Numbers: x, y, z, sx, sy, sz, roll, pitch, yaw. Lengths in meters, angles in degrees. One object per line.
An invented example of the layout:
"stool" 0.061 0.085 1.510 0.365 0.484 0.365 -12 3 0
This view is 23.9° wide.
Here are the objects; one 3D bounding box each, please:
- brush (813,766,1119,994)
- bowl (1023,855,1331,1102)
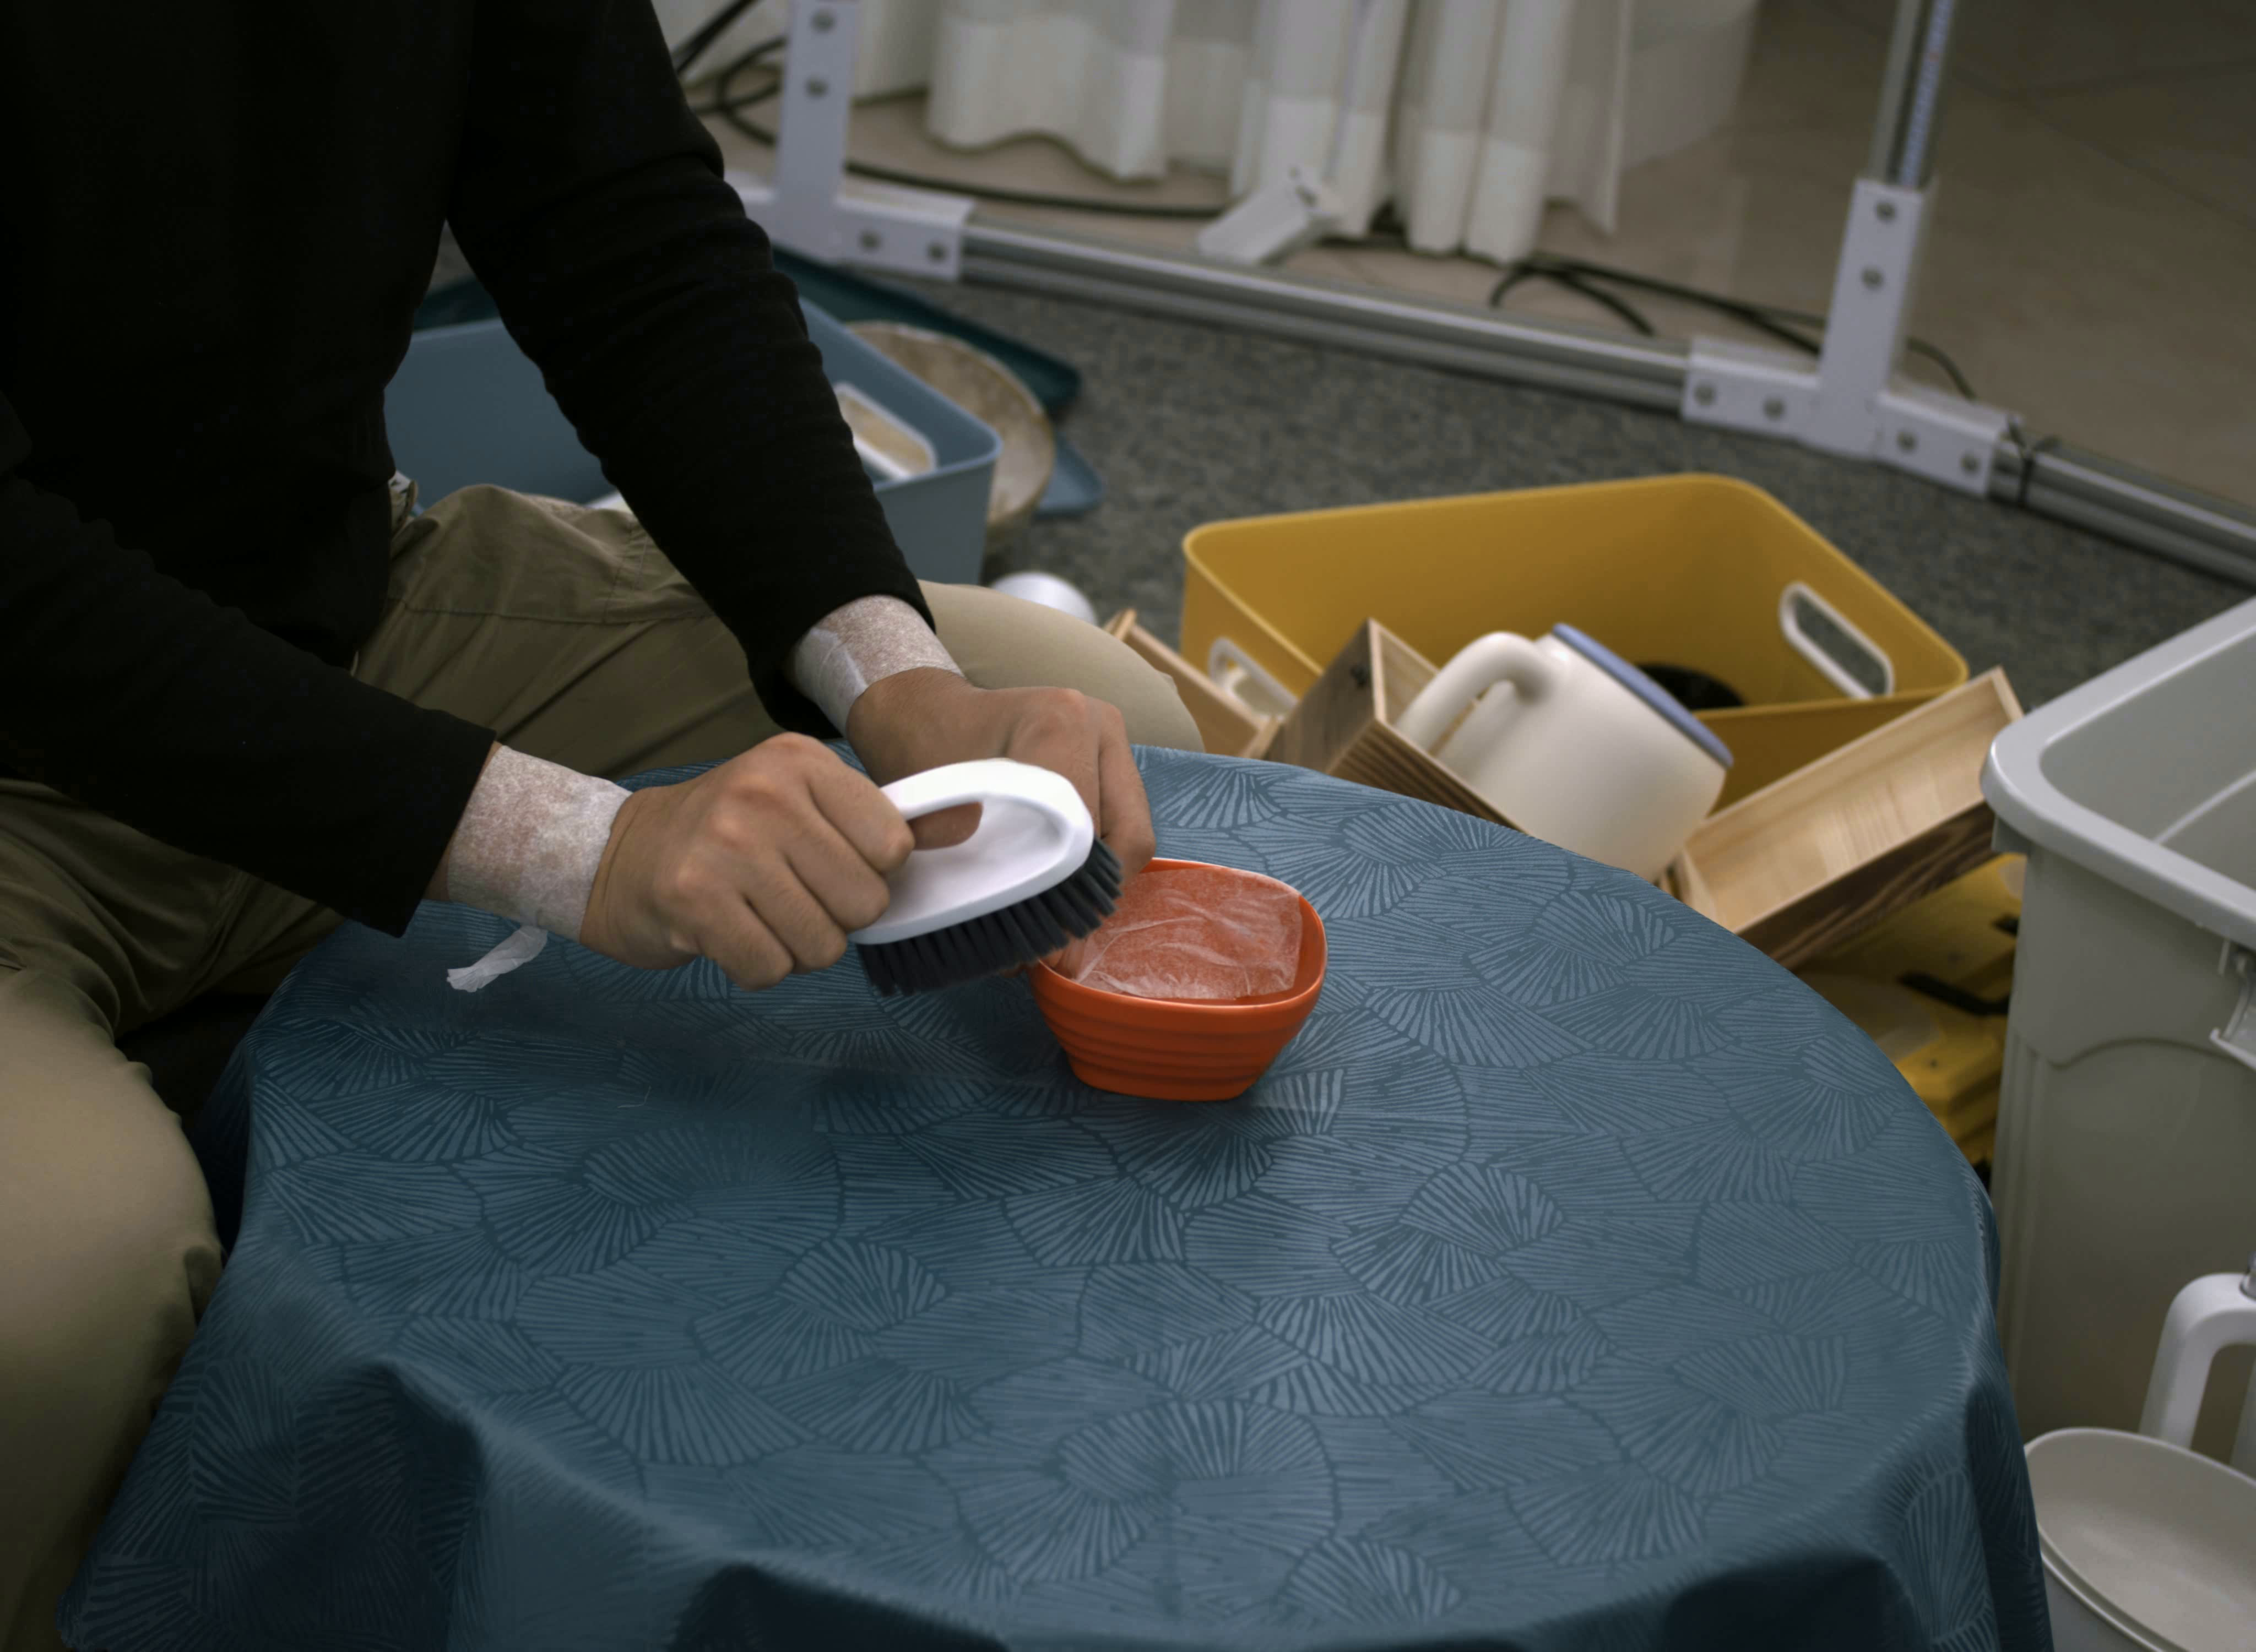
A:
"brush" -0.062 0.012 1.819 0.099 0.072 0.050 -16 45 17
"bowl" 0.014 0.058 1.877 0.118 0.051 0.119 6 27 -3
